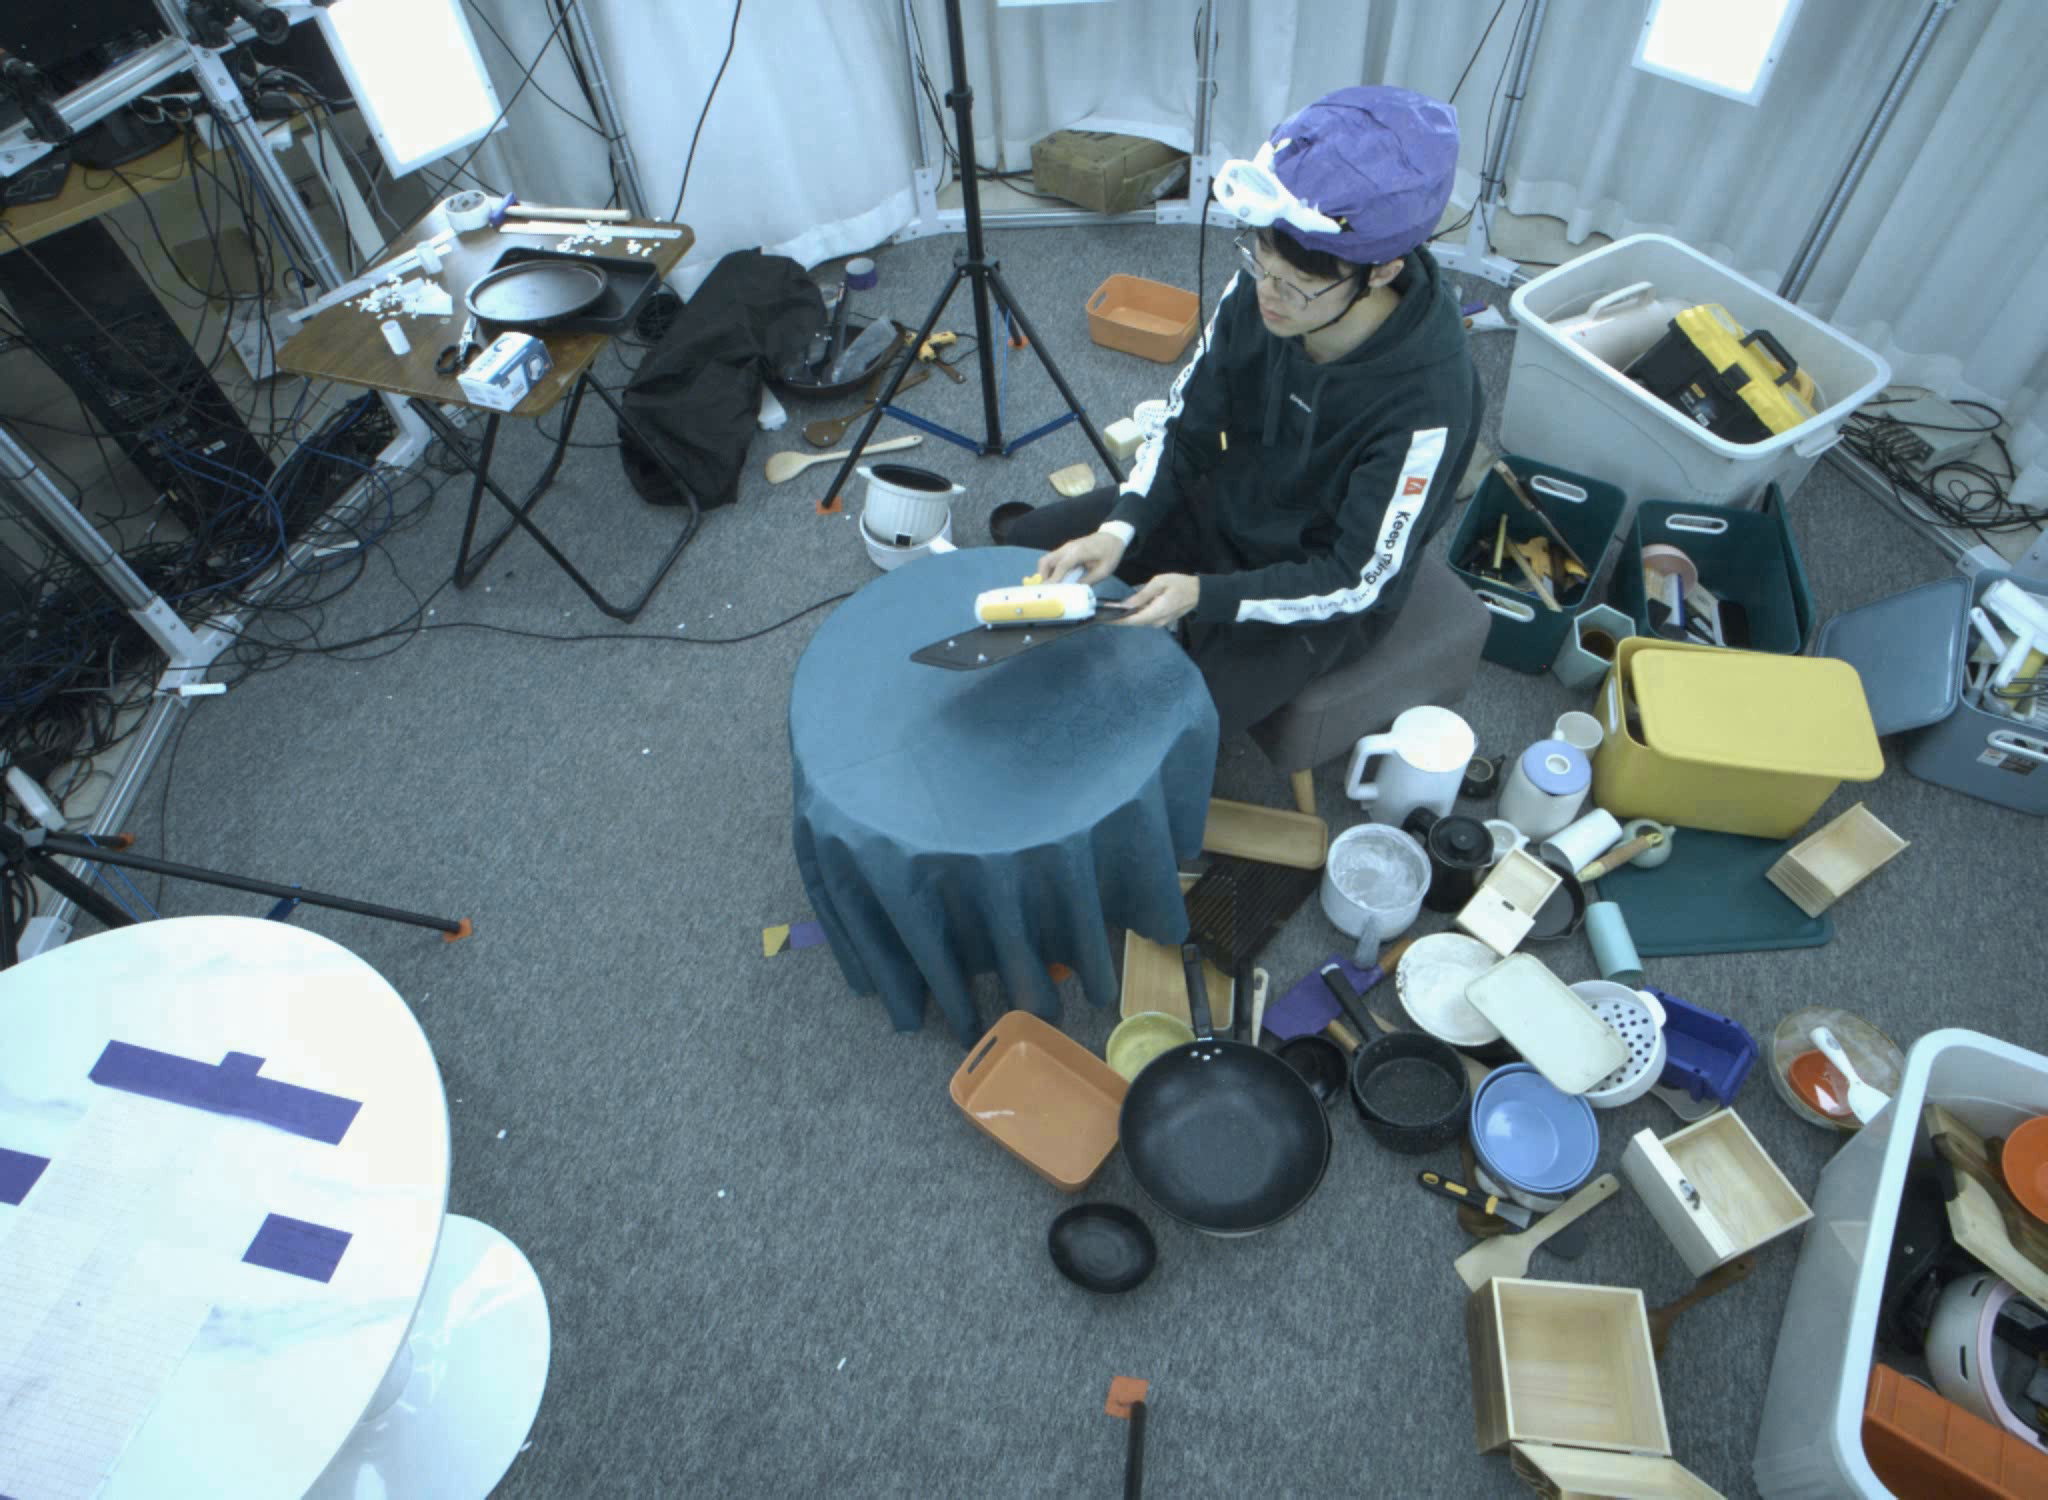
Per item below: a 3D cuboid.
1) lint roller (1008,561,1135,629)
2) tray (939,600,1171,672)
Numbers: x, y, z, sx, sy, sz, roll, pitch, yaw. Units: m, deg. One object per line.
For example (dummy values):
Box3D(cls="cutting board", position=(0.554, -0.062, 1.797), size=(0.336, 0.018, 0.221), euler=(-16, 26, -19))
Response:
Box3D(cls="lint roller", position=(0.093, -0.230, 1.806), size=(0.189, 0.075, 0.194), euler=(-4, 17, 32))
Box3D(cls="tray", position=(0.049, -0.170, 1.754), size=(0.330, 0.010, 0.206), euler=(-21, 21, -27))
